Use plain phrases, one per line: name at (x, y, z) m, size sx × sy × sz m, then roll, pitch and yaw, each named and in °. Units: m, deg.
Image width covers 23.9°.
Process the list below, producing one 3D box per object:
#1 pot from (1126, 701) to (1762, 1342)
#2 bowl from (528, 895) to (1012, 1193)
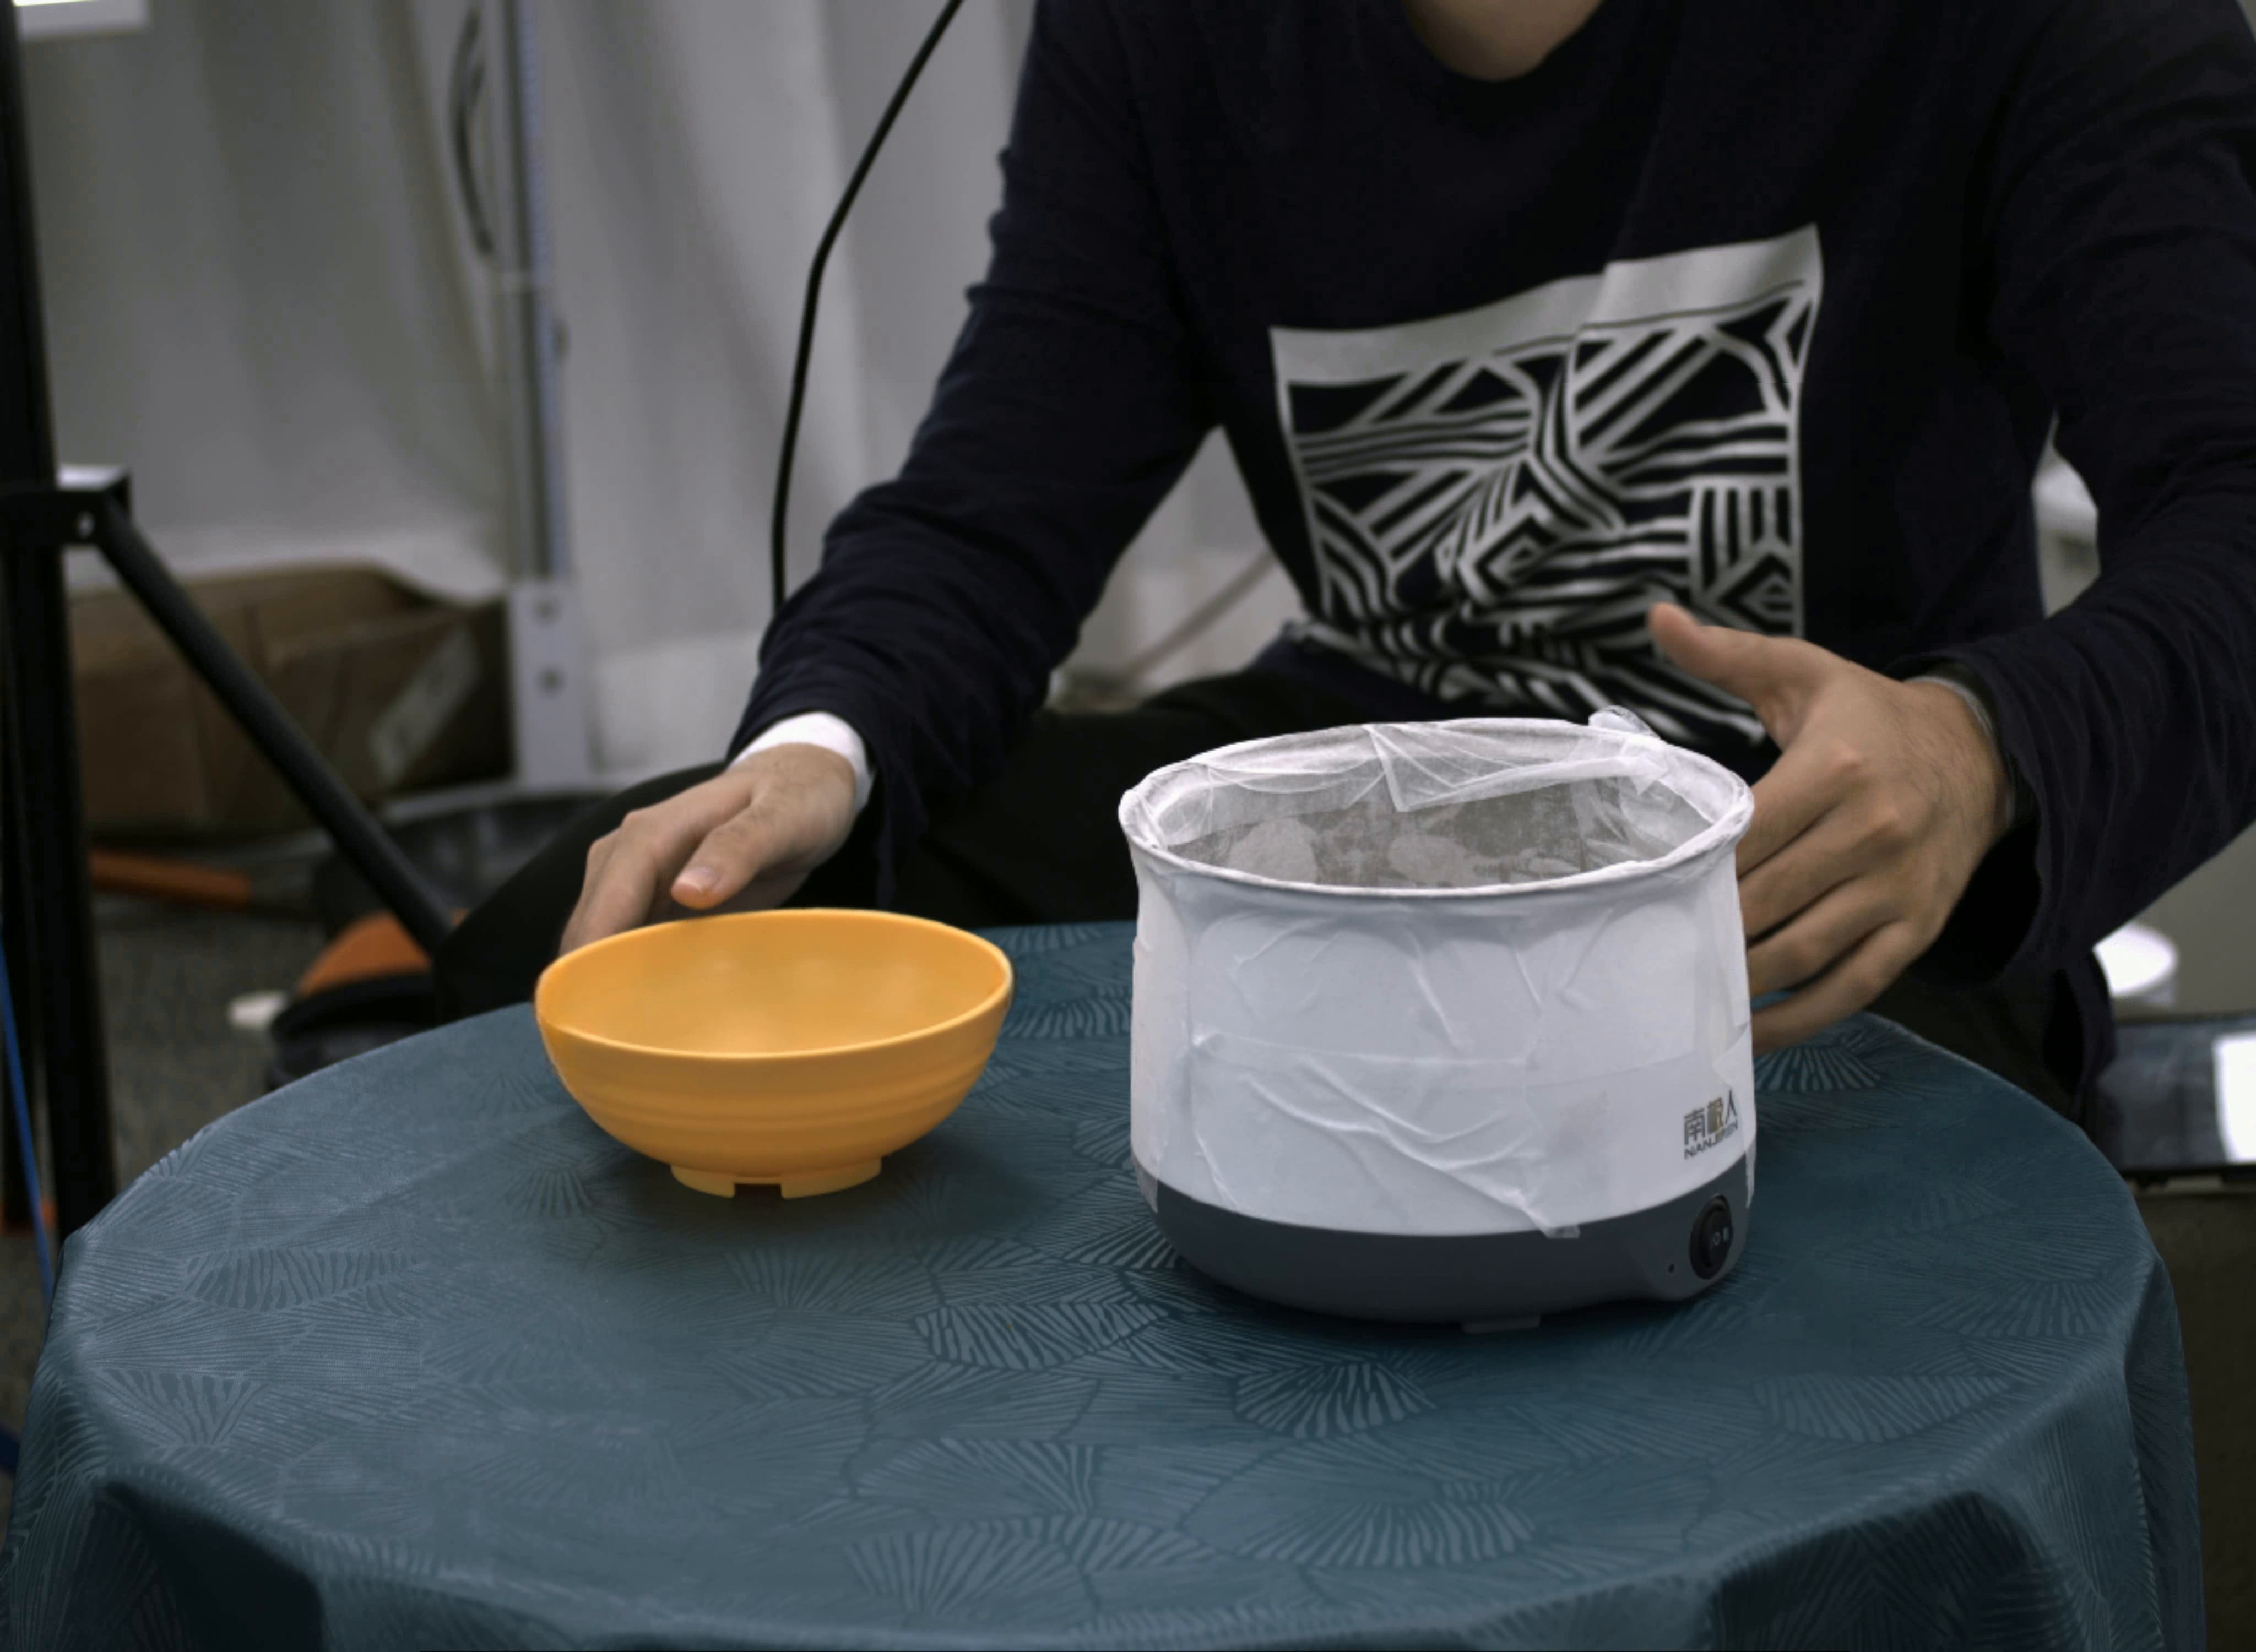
pot at (0.103, 0.047, 1.508) m, size 0.182 × 0.136 × 0.229 m, roll 11°, pitch 21°, yaw 32°
bowl at (-0.106, 0.071, 1.594) m, size 0.144 × 0.060 × 0.146 m, roll -2°, pitch 17°, yaw -1°
